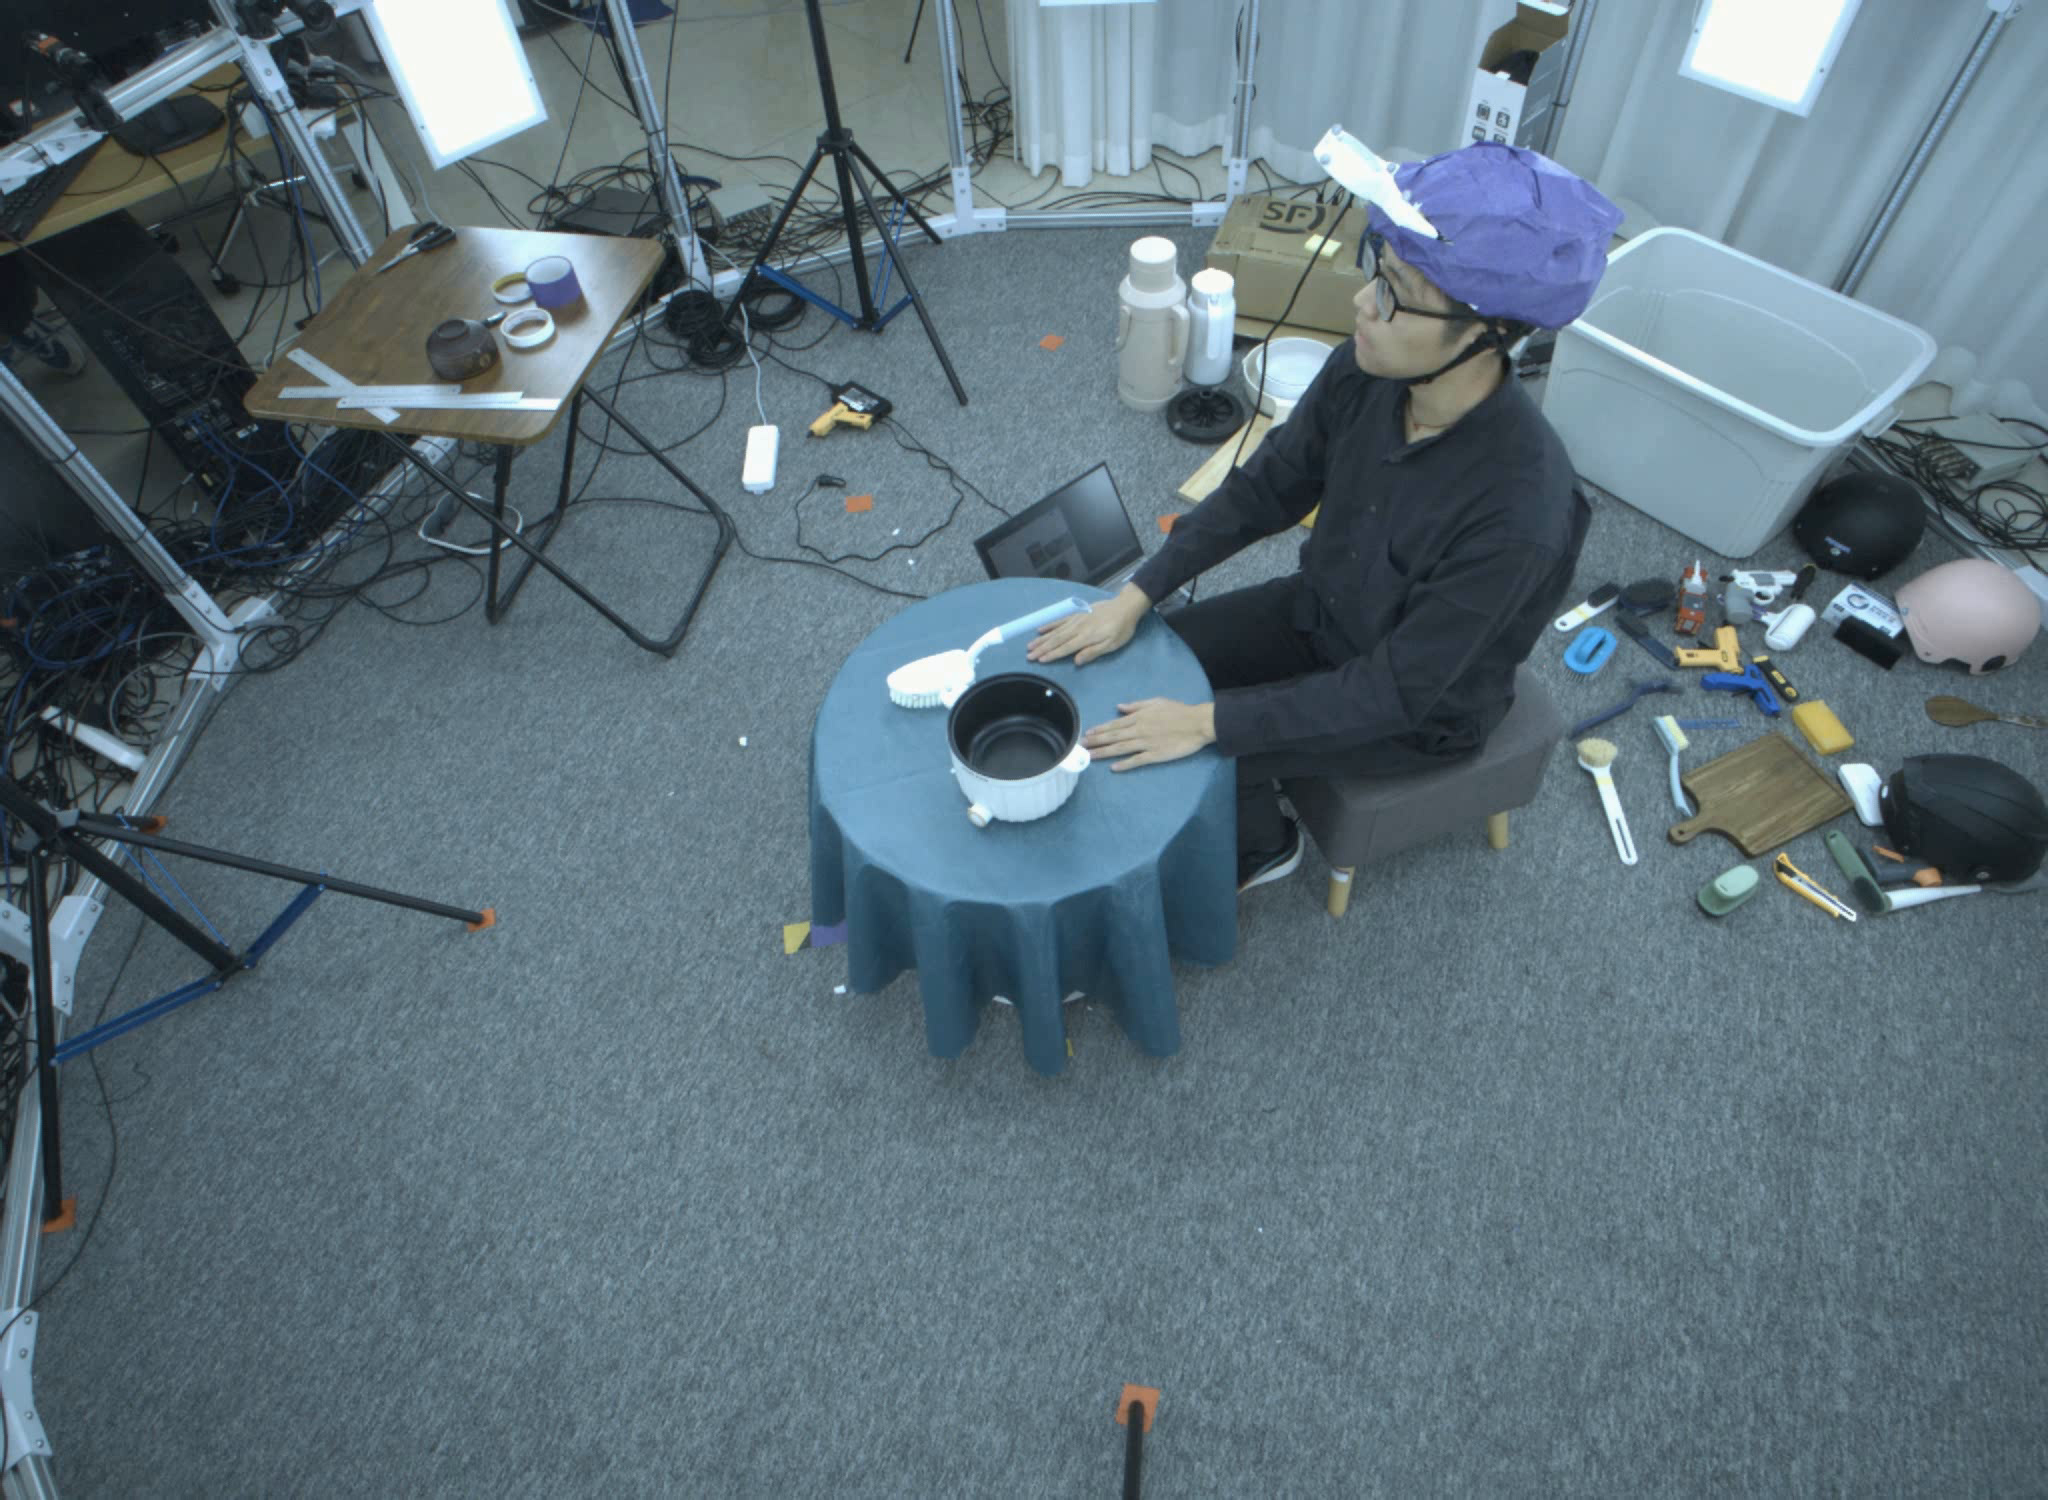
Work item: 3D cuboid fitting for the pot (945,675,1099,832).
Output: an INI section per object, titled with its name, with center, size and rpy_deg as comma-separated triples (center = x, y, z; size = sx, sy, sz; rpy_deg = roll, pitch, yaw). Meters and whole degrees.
[pot]
center = -0.003, 0.013, 1.686
size = 0.236, 0.144, 0.191
rpy_deg = 27, 58, 22

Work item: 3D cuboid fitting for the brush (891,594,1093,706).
[brush]
center = -0.042, -0.139, 1.836
size = 0.325, 0.084, 0.083
rpy_deg = -22, 92, 1
